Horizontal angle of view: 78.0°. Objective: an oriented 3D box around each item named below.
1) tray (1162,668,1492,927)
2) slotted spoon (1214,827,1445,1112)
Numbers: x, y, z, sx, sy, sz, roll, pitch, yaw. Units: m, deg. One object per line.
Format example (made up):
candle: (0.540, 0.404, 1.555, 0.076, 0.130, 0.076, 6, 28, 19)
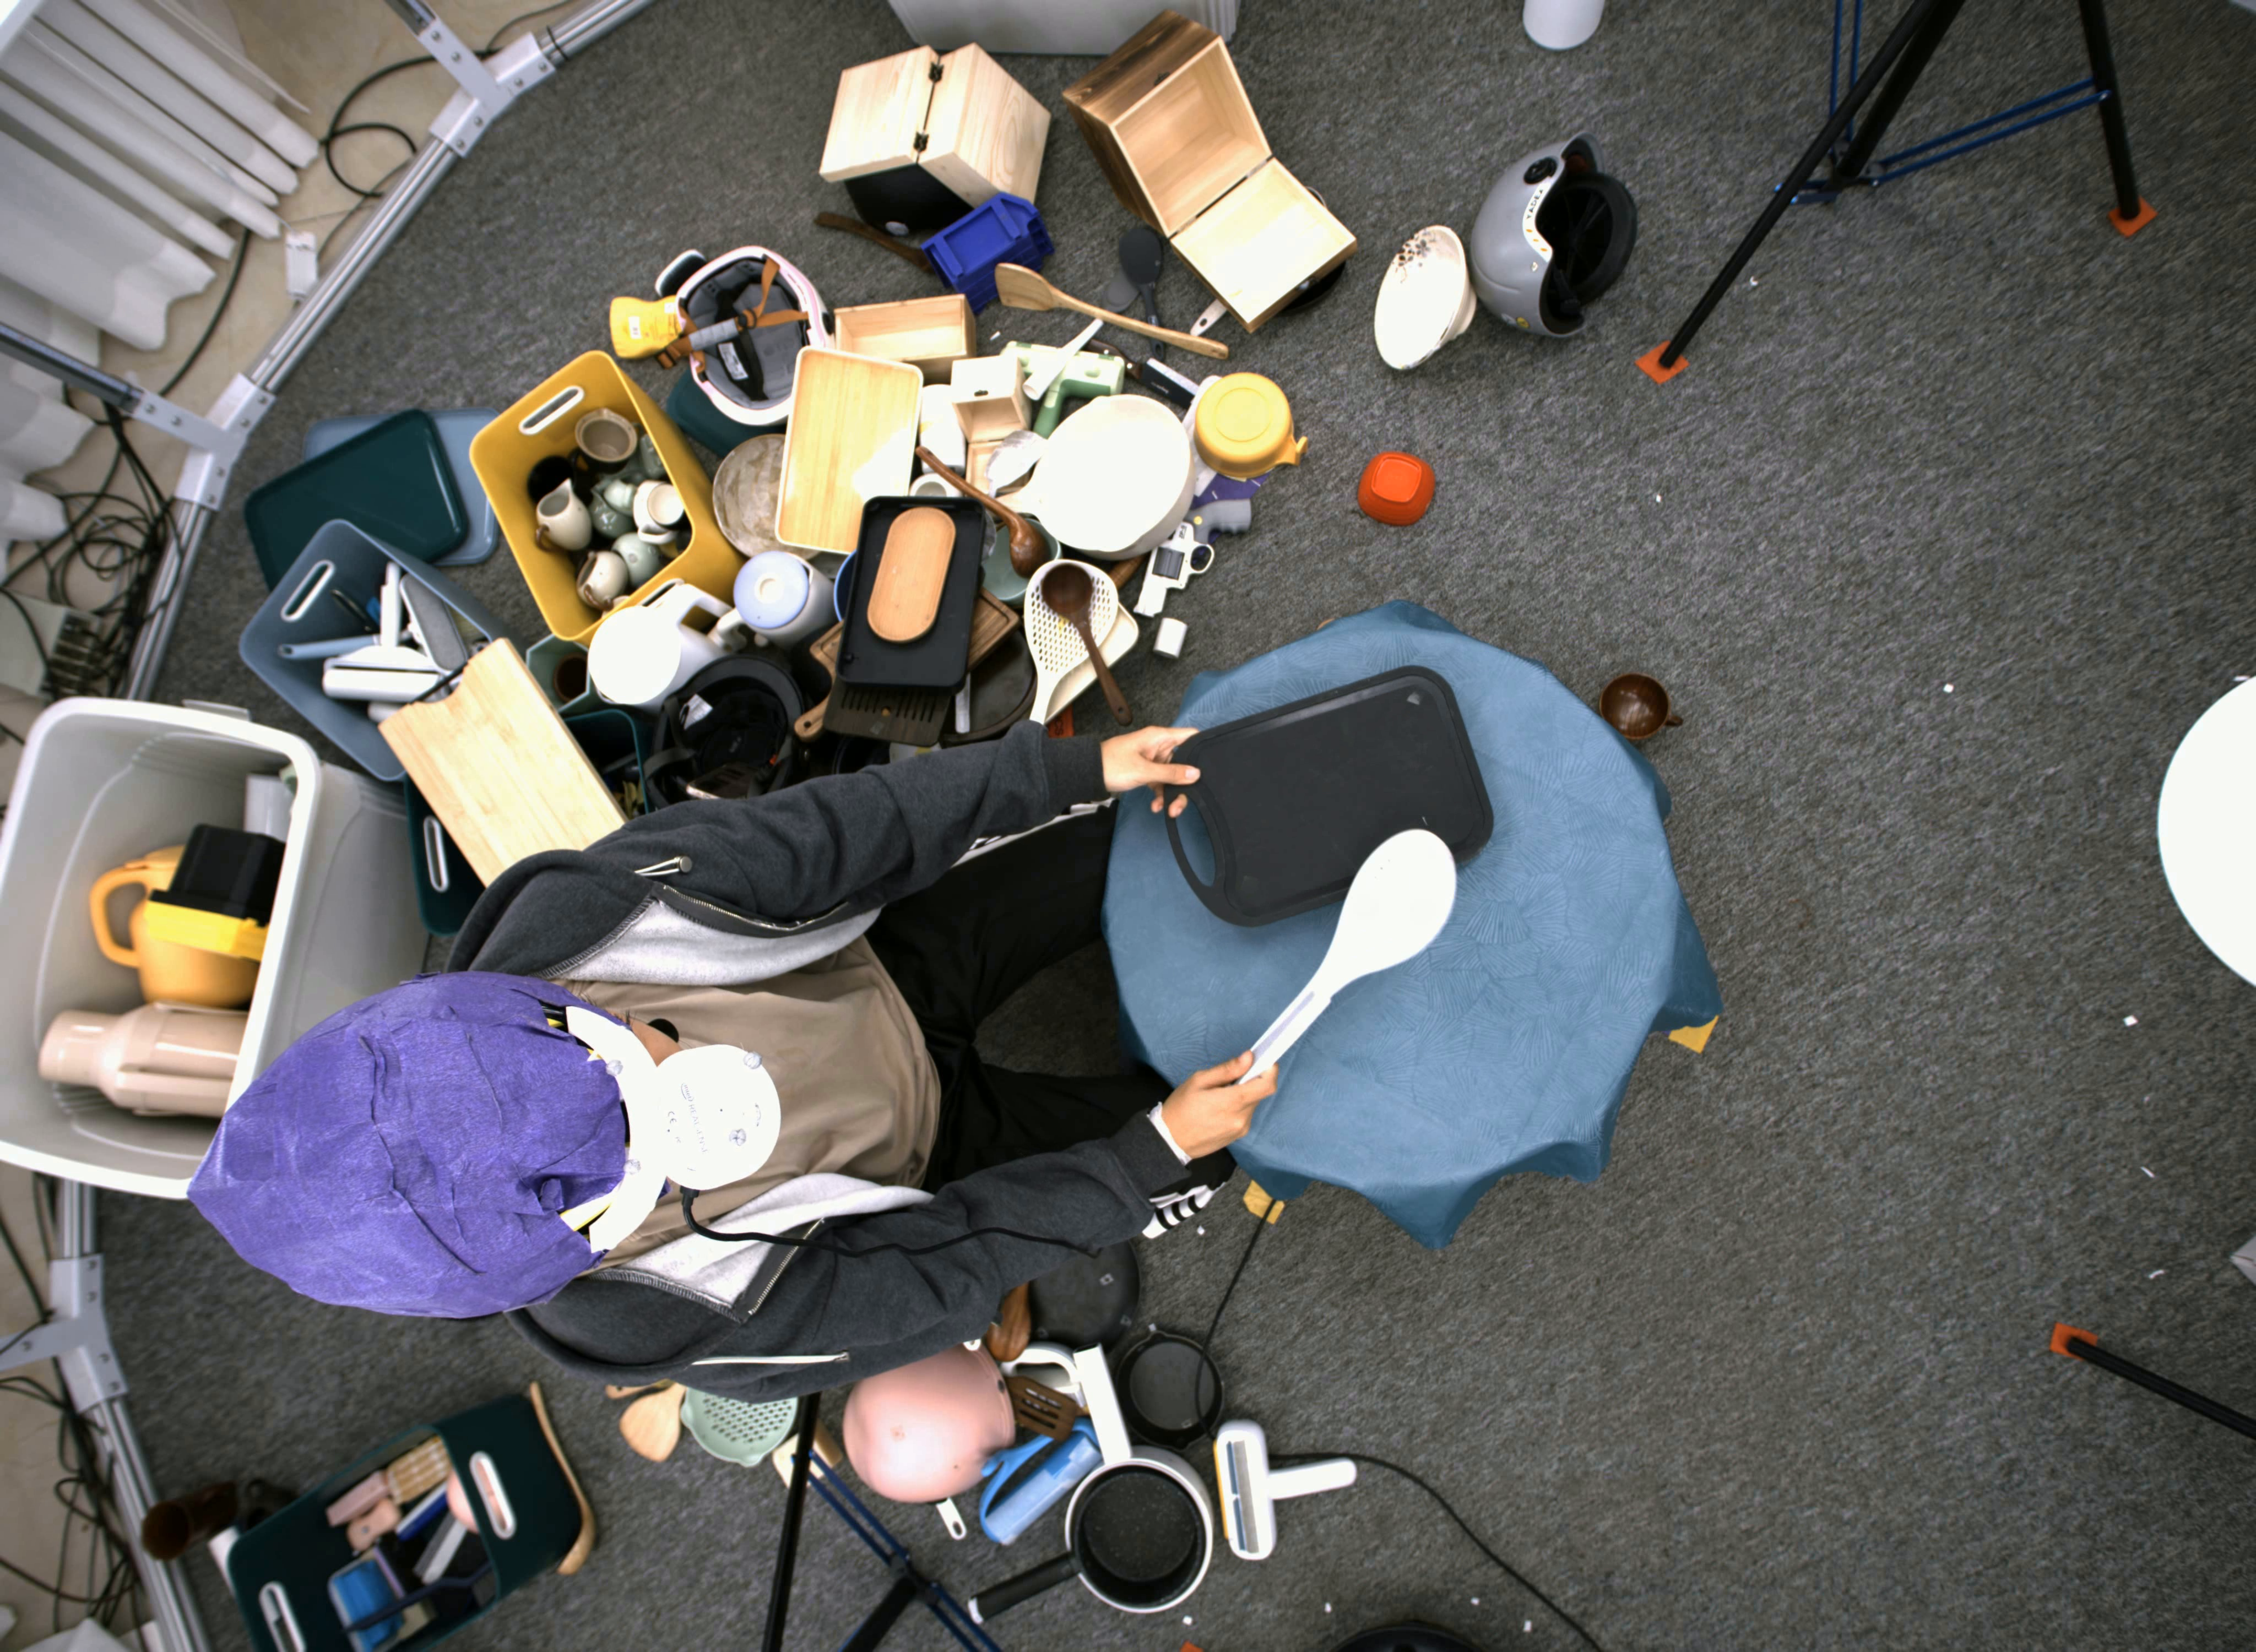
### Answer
tray: (0.198, -0.026, 1.408, 0.326, 0.010, 0.211, -17, 90, 3)
slotted spoon: (0.191, 0.147, 1.338, 0.046, 0.133, 0.355, 32, 110, -24)
